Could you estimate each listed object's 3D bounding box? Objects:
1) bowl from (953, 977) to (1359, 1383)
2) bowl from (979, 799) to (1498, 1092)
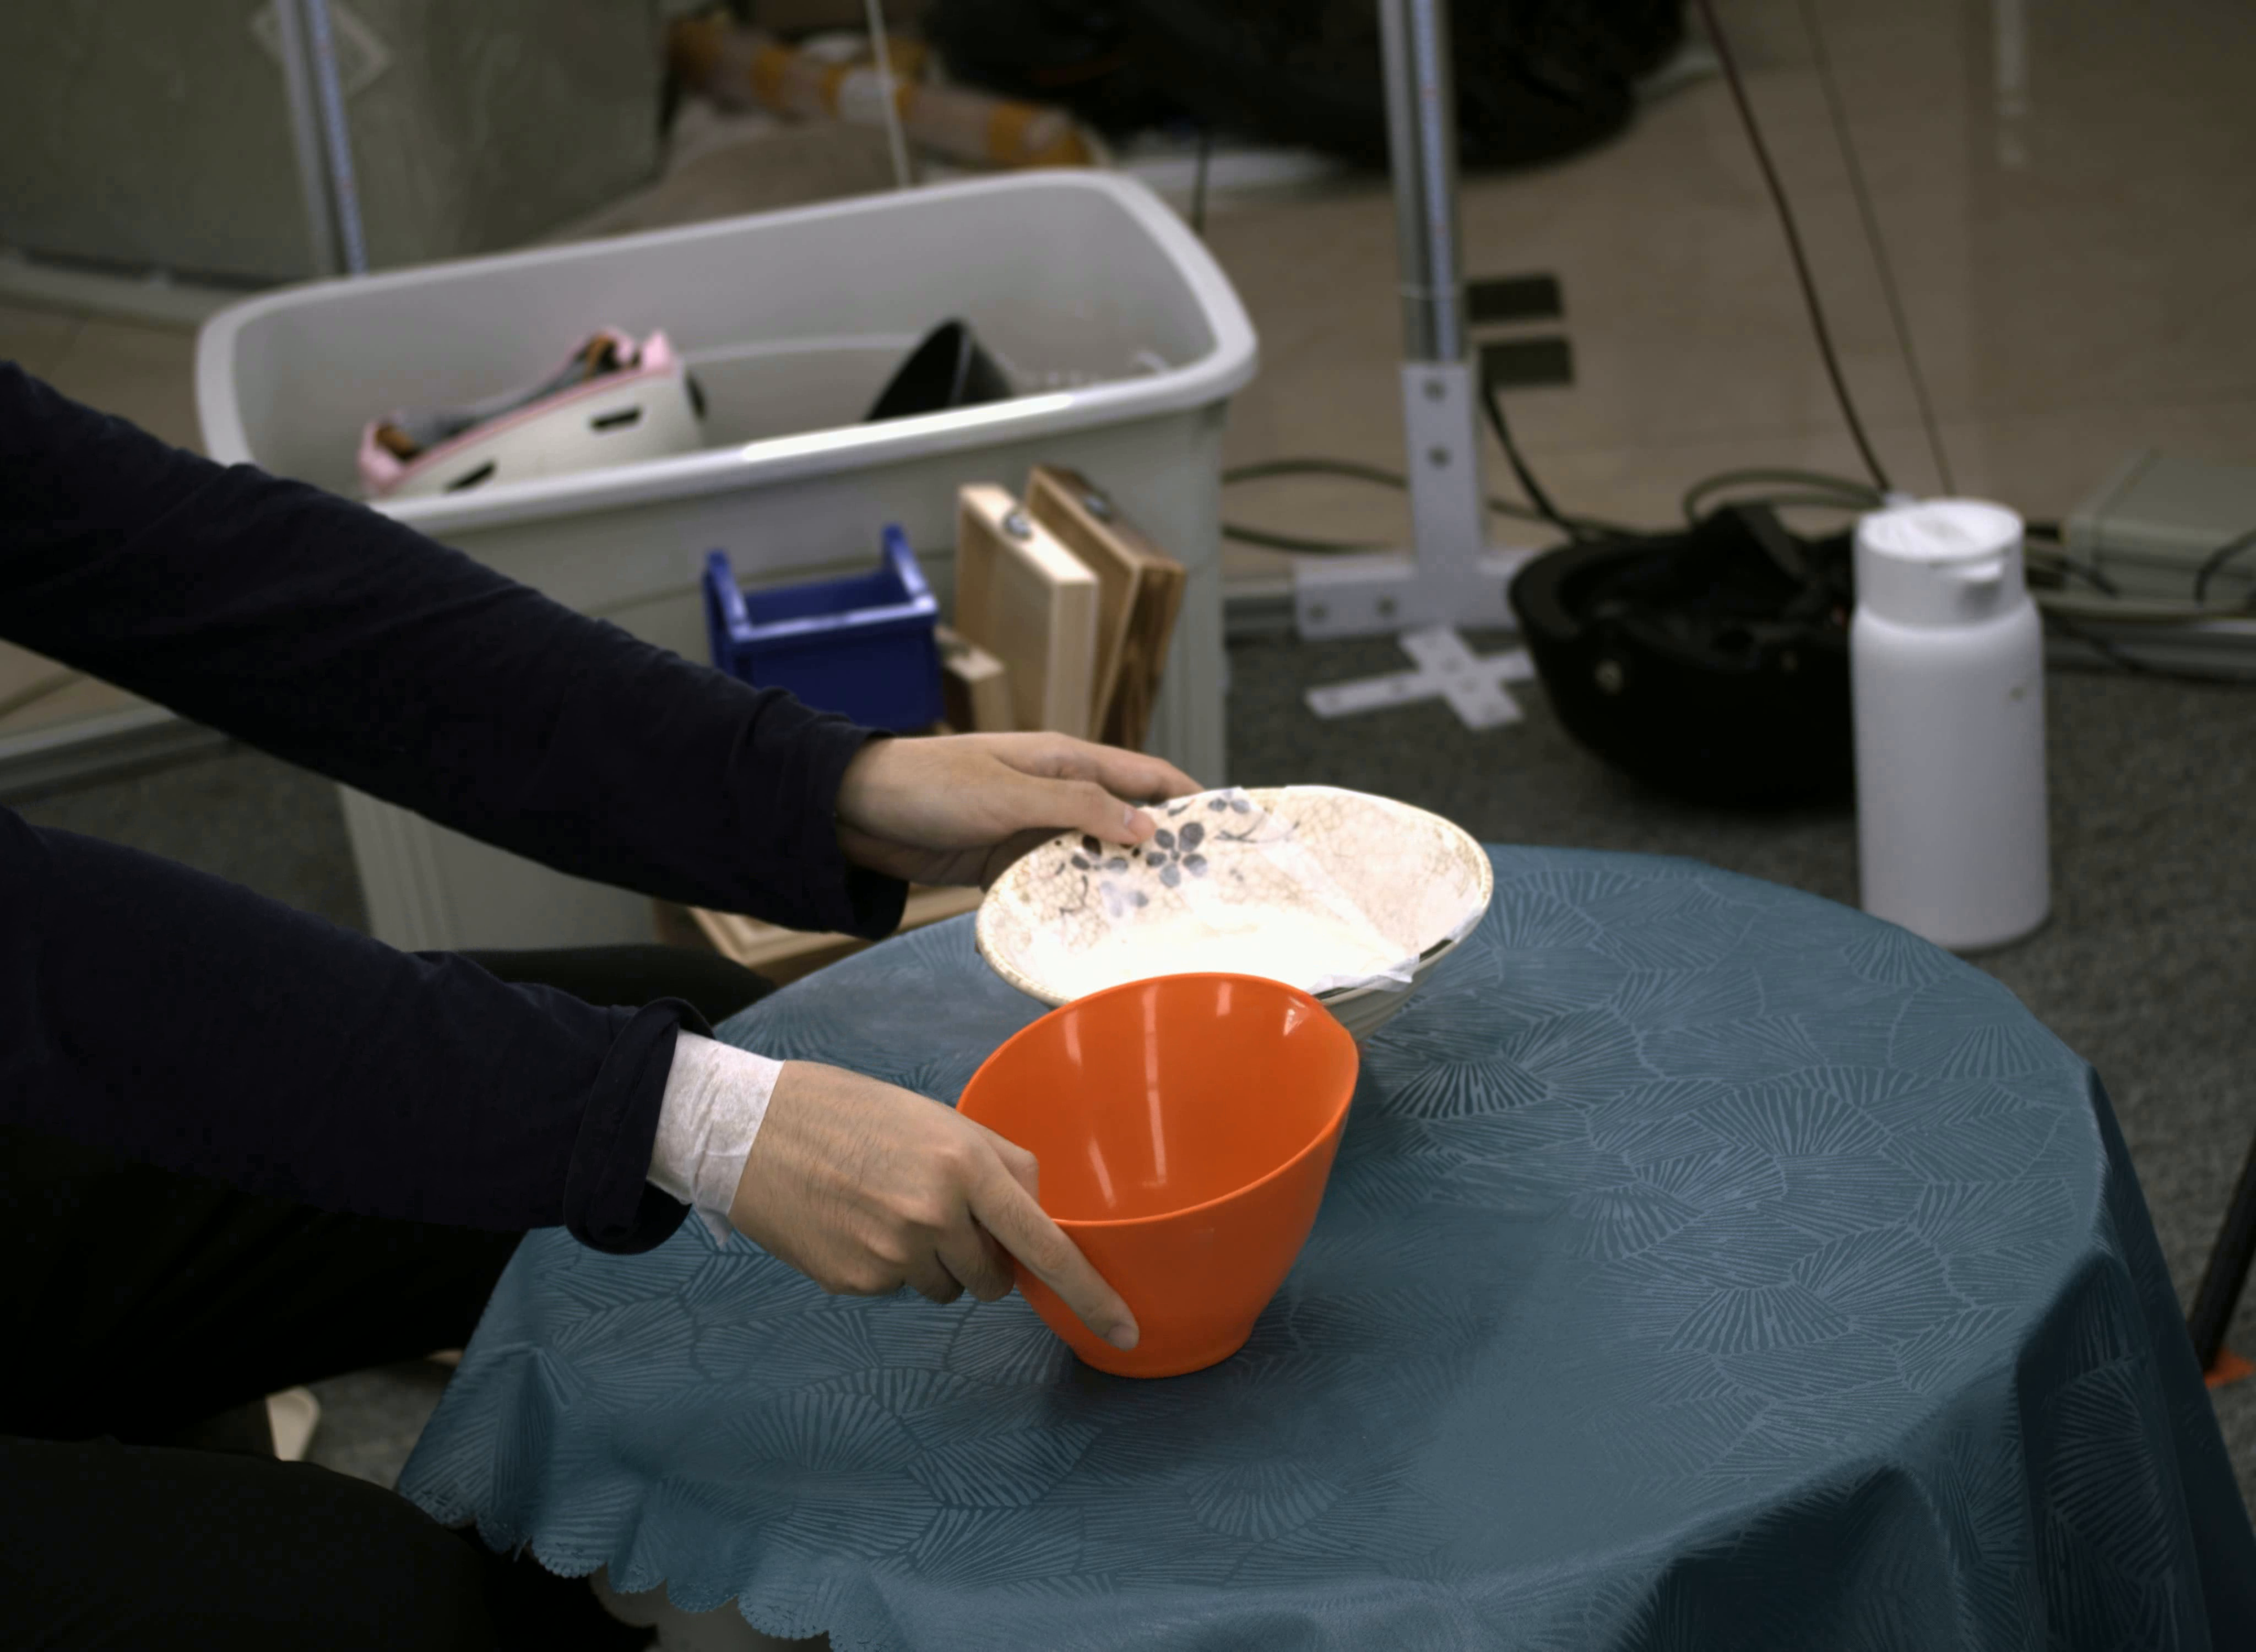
[{"bbox_3d":[0.015,0.134,2.039,0.148,0.106,0.146,-7,26,3],"label":"bowl"},{"bbox_3d":[0.048,0.063,2.214,0.204,0.079,0.201,-8,22,3],"label":"bowl"}]
